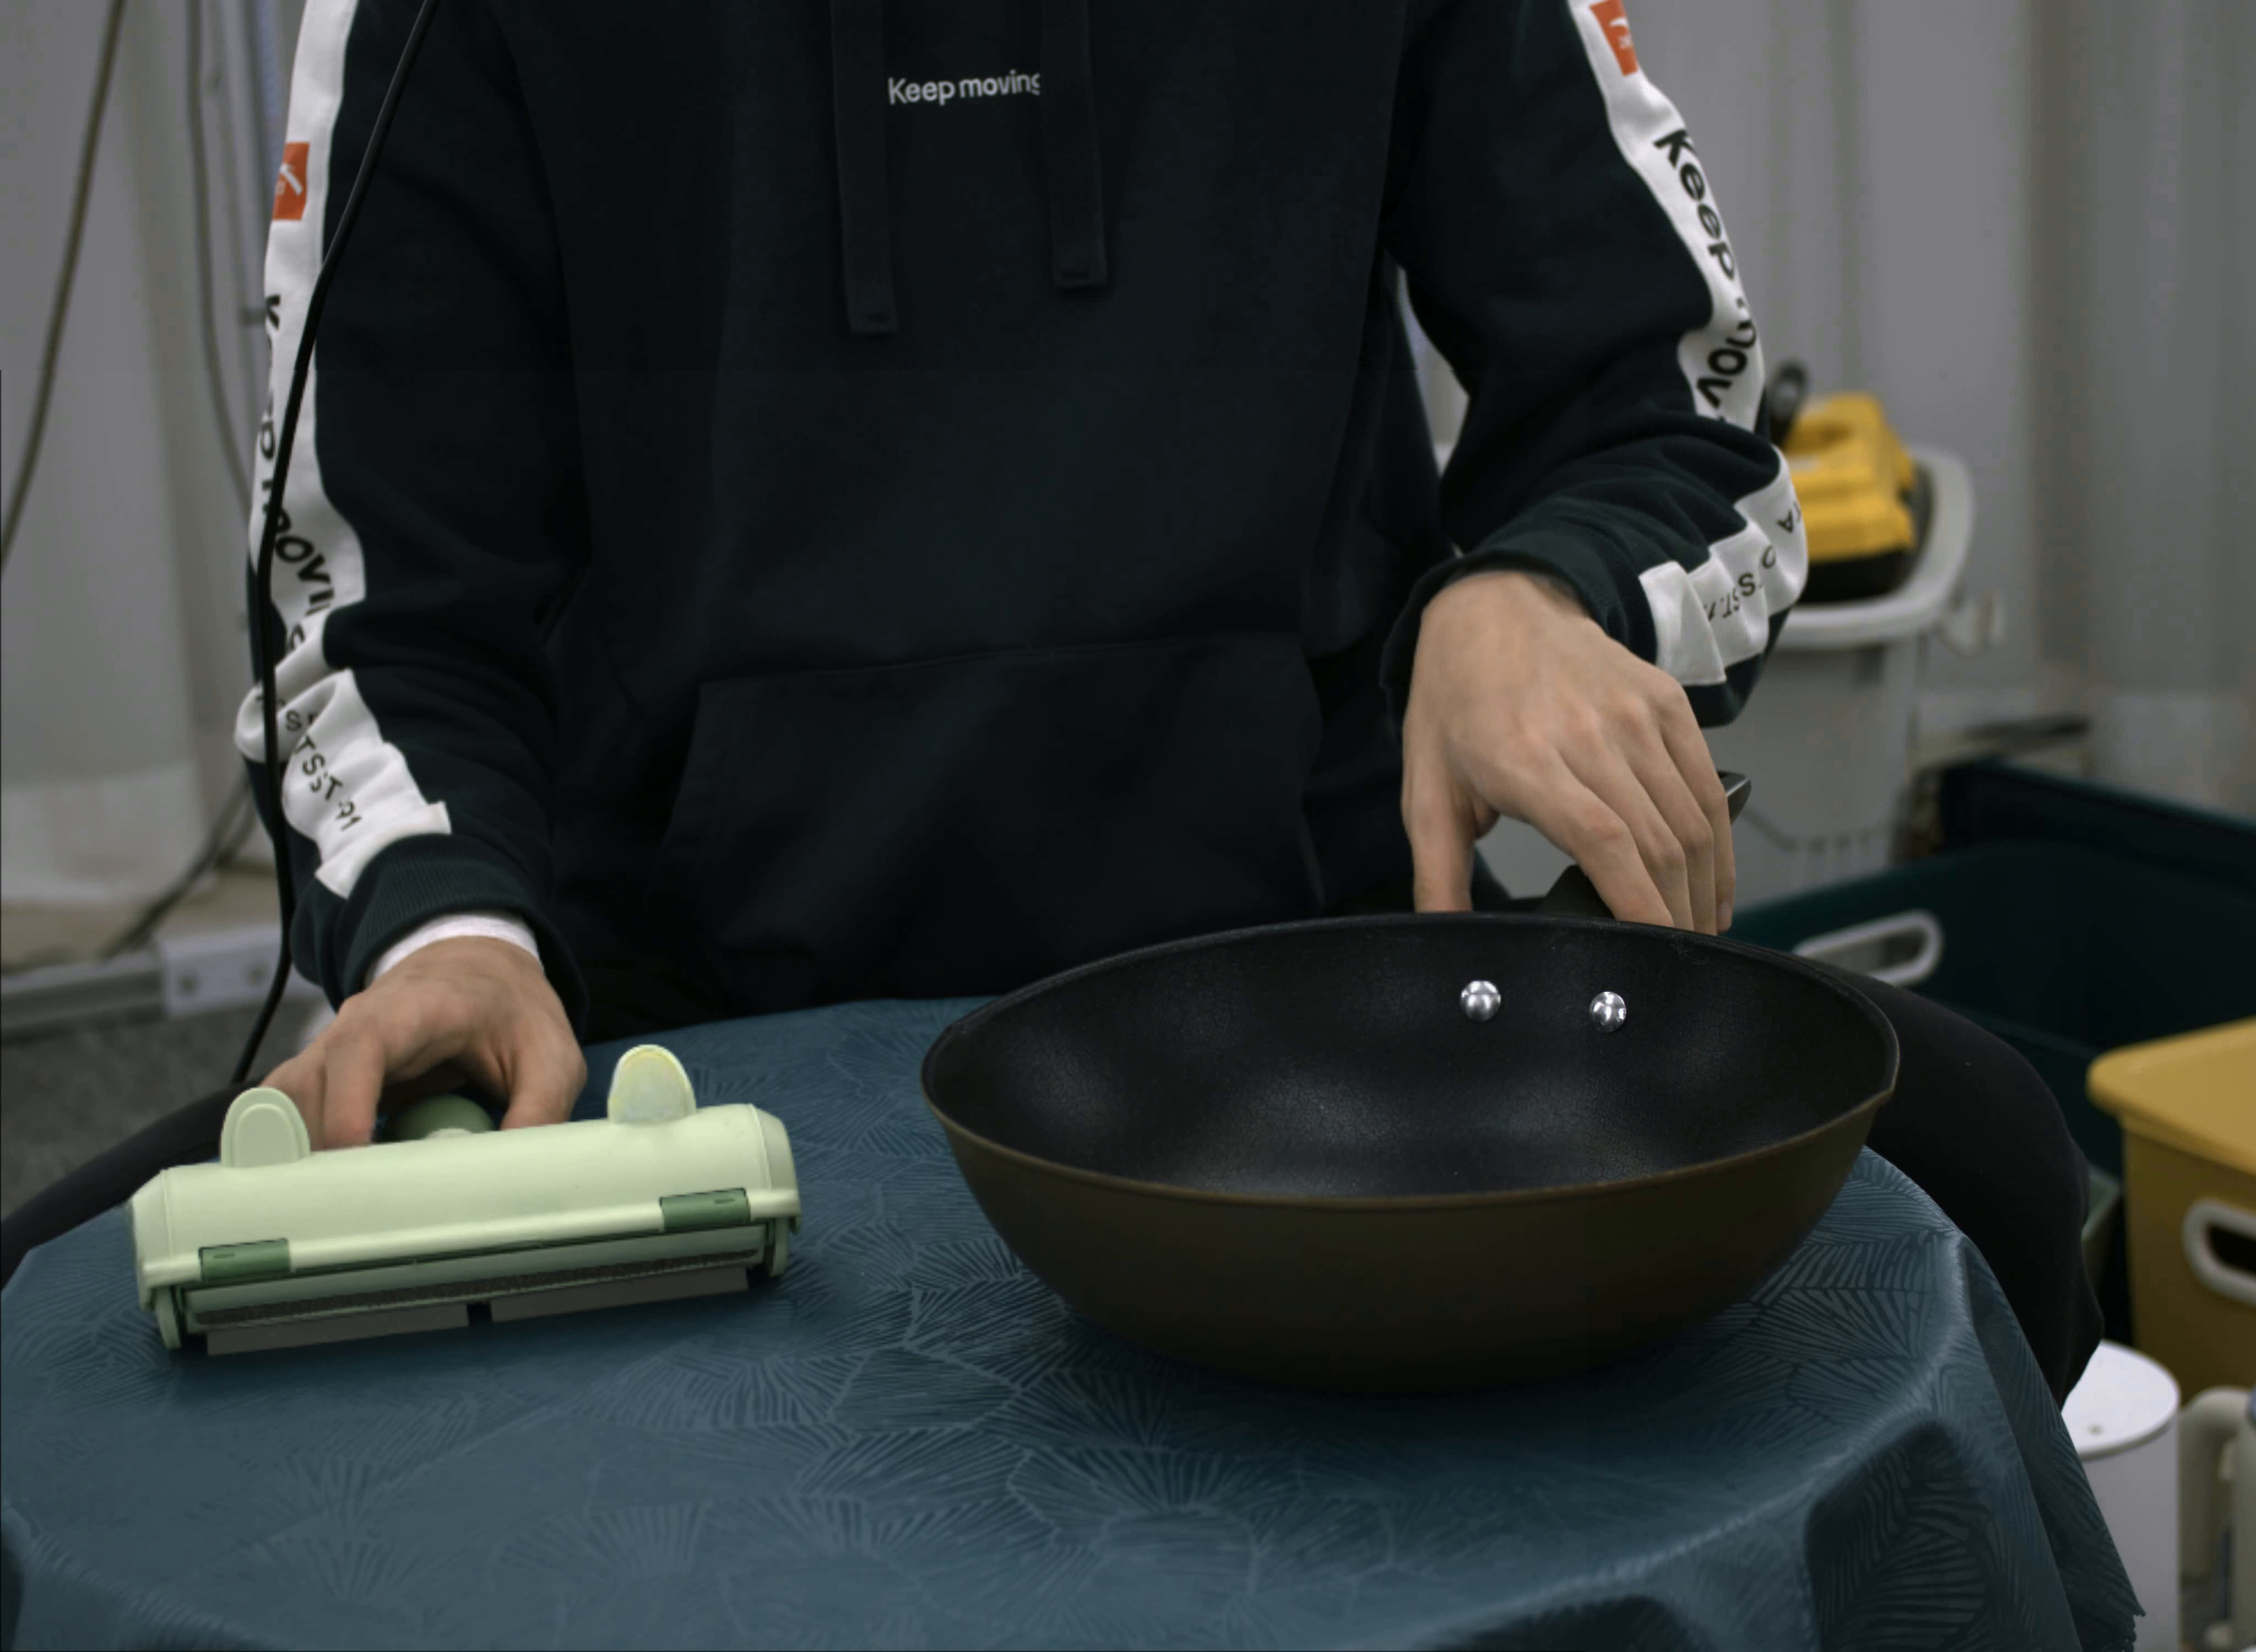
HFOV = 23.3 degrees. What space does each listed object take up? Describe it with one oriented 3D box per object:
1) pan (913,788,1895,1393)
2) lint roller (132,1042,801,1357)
[{"bbox_3d":[0.113,0.078,1.668,0.288,0.086,0.464,3,15,21],"label":"pan"},{"bbox_3d":[-0.209,0.095,1.684,0.198,0.081,0.185,-6,20,-10],"label":"lint roller"}]
